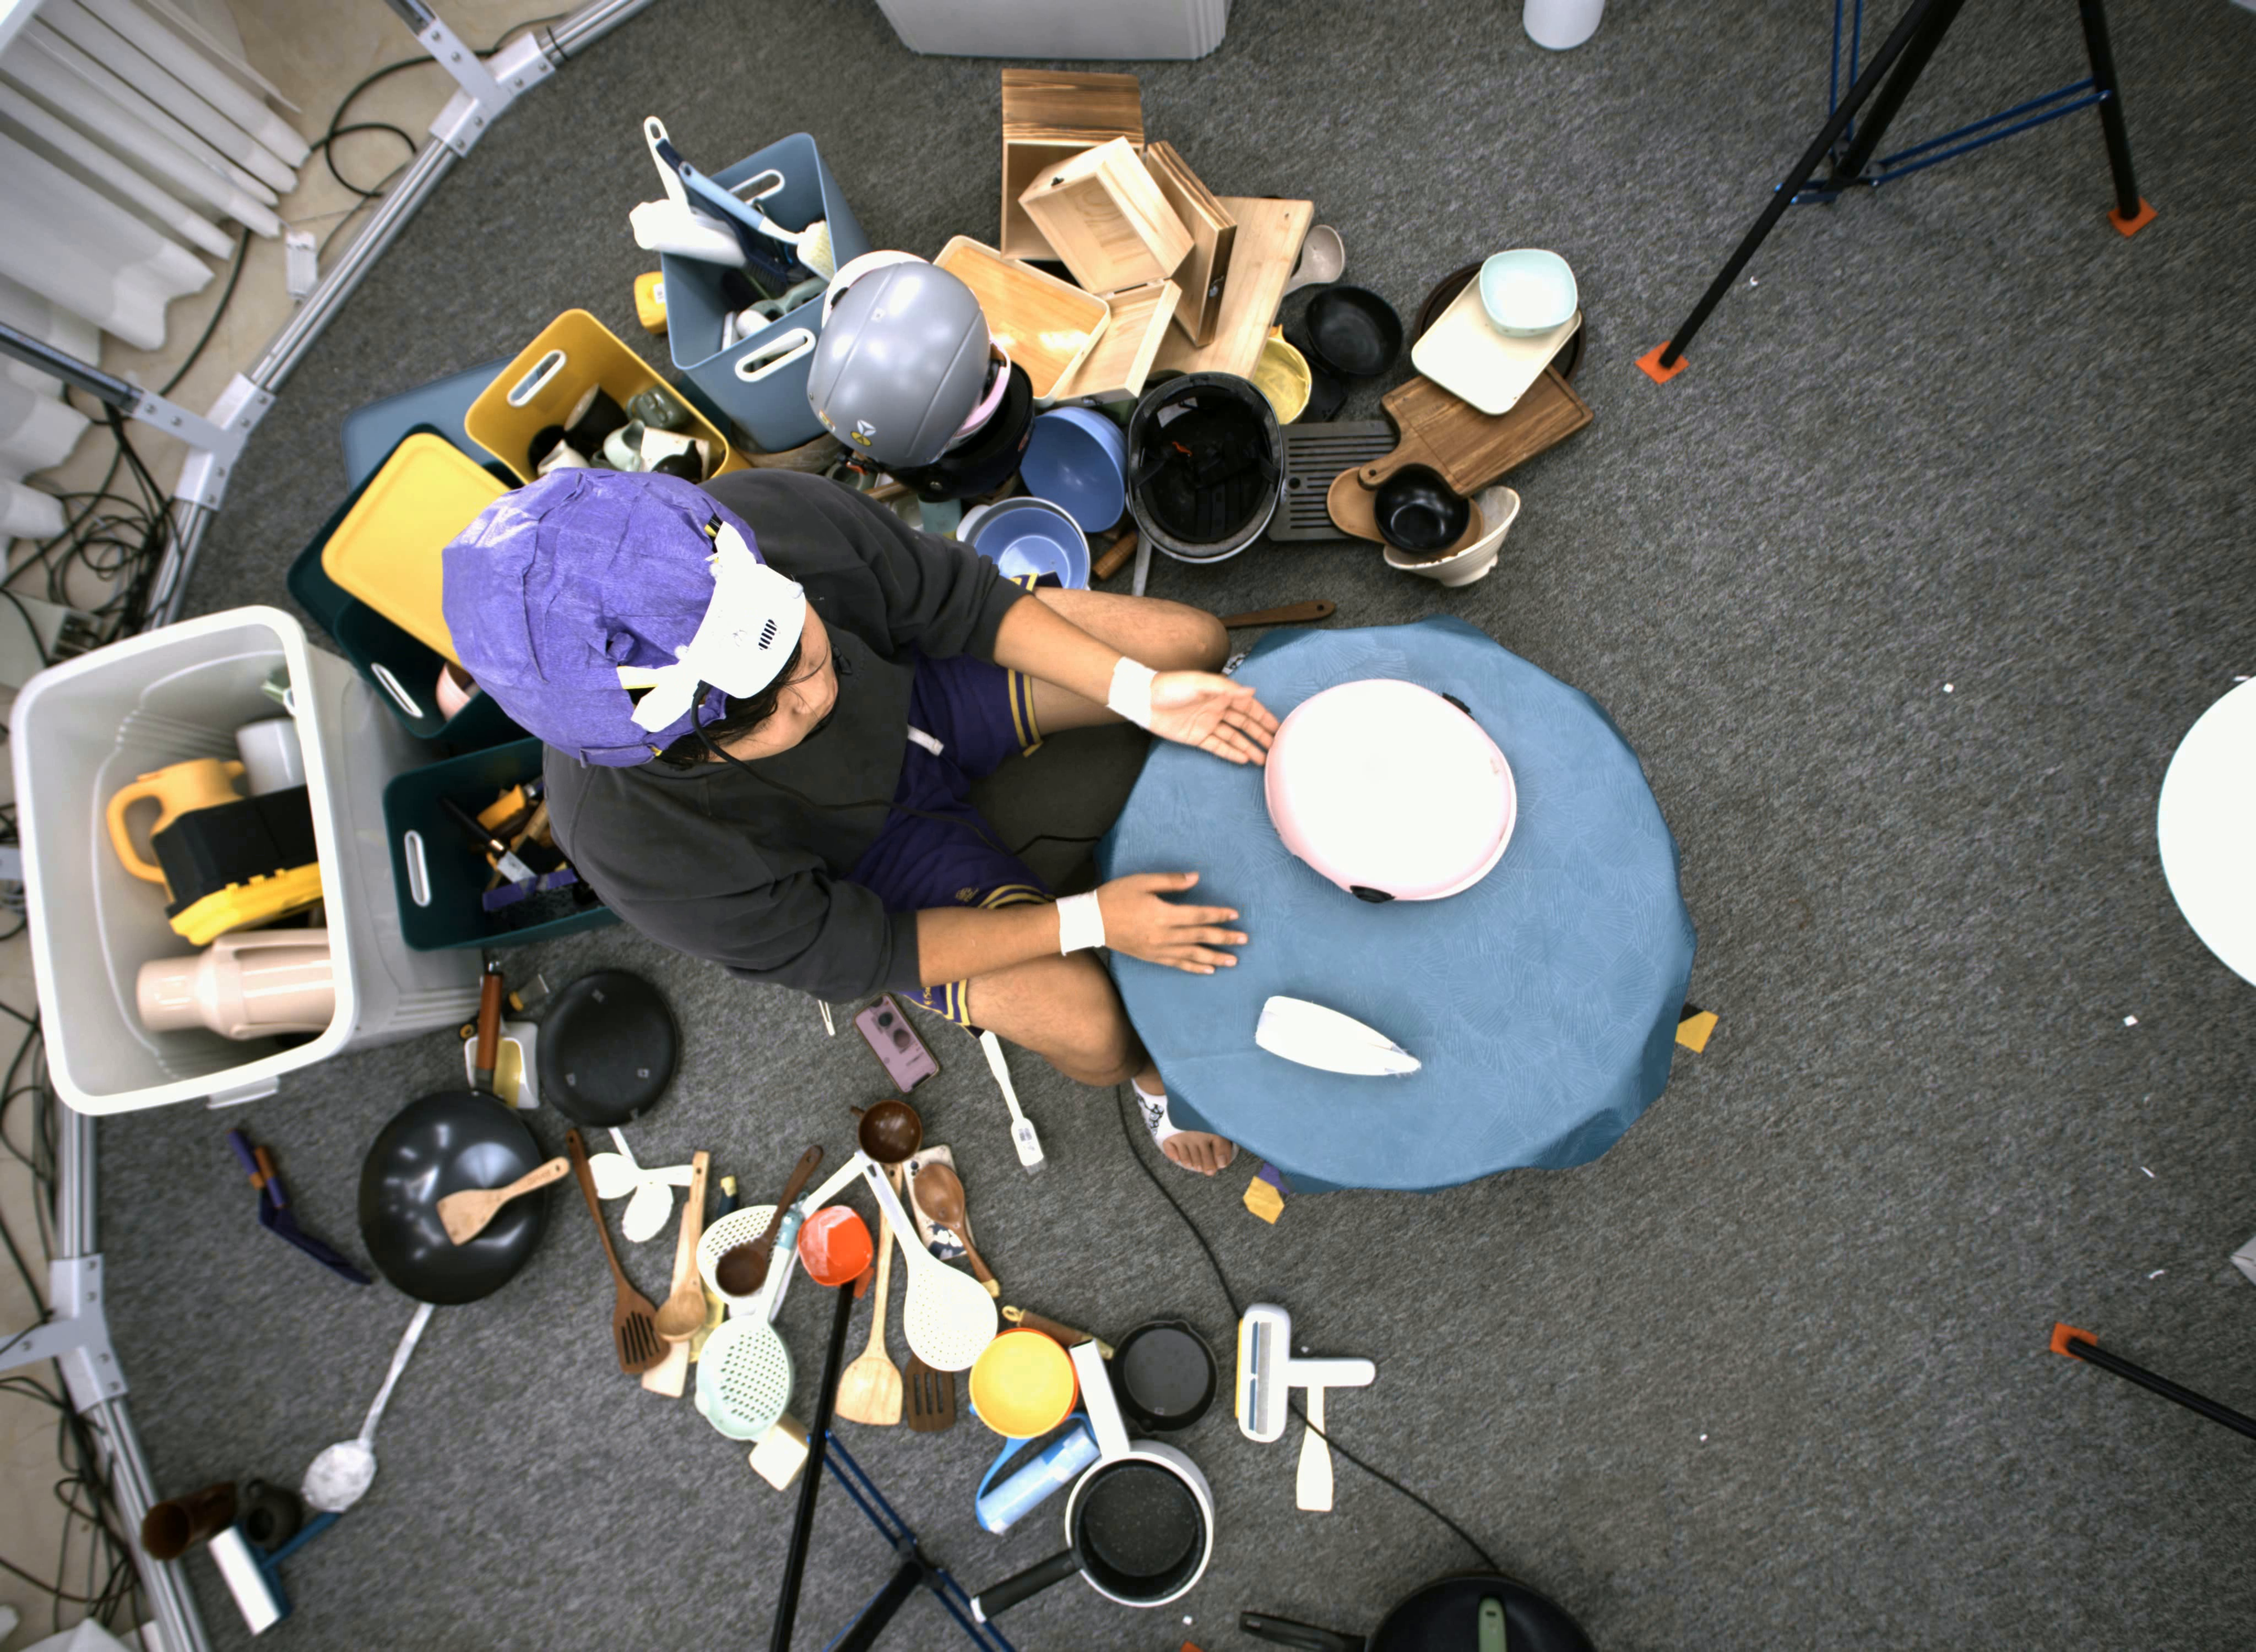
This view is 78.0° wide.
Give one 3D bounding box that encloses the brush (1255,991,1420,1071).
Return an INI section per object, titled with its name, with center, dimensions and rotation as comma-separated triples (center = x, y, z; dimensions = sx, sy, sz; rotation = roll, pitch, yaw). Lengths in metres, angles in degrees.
[brush]
center = 0.215, 0.218, 1.415
dimensions = 0.175, 0.094, 0.061
rotation = 17, 89, 9

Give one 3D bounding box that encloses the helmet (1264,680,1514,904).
[helmet]
center = 0.268, -0.042, 1.390
dimensions = 0.266, 0.159, 0.234
rotation = 24, 90, 7
